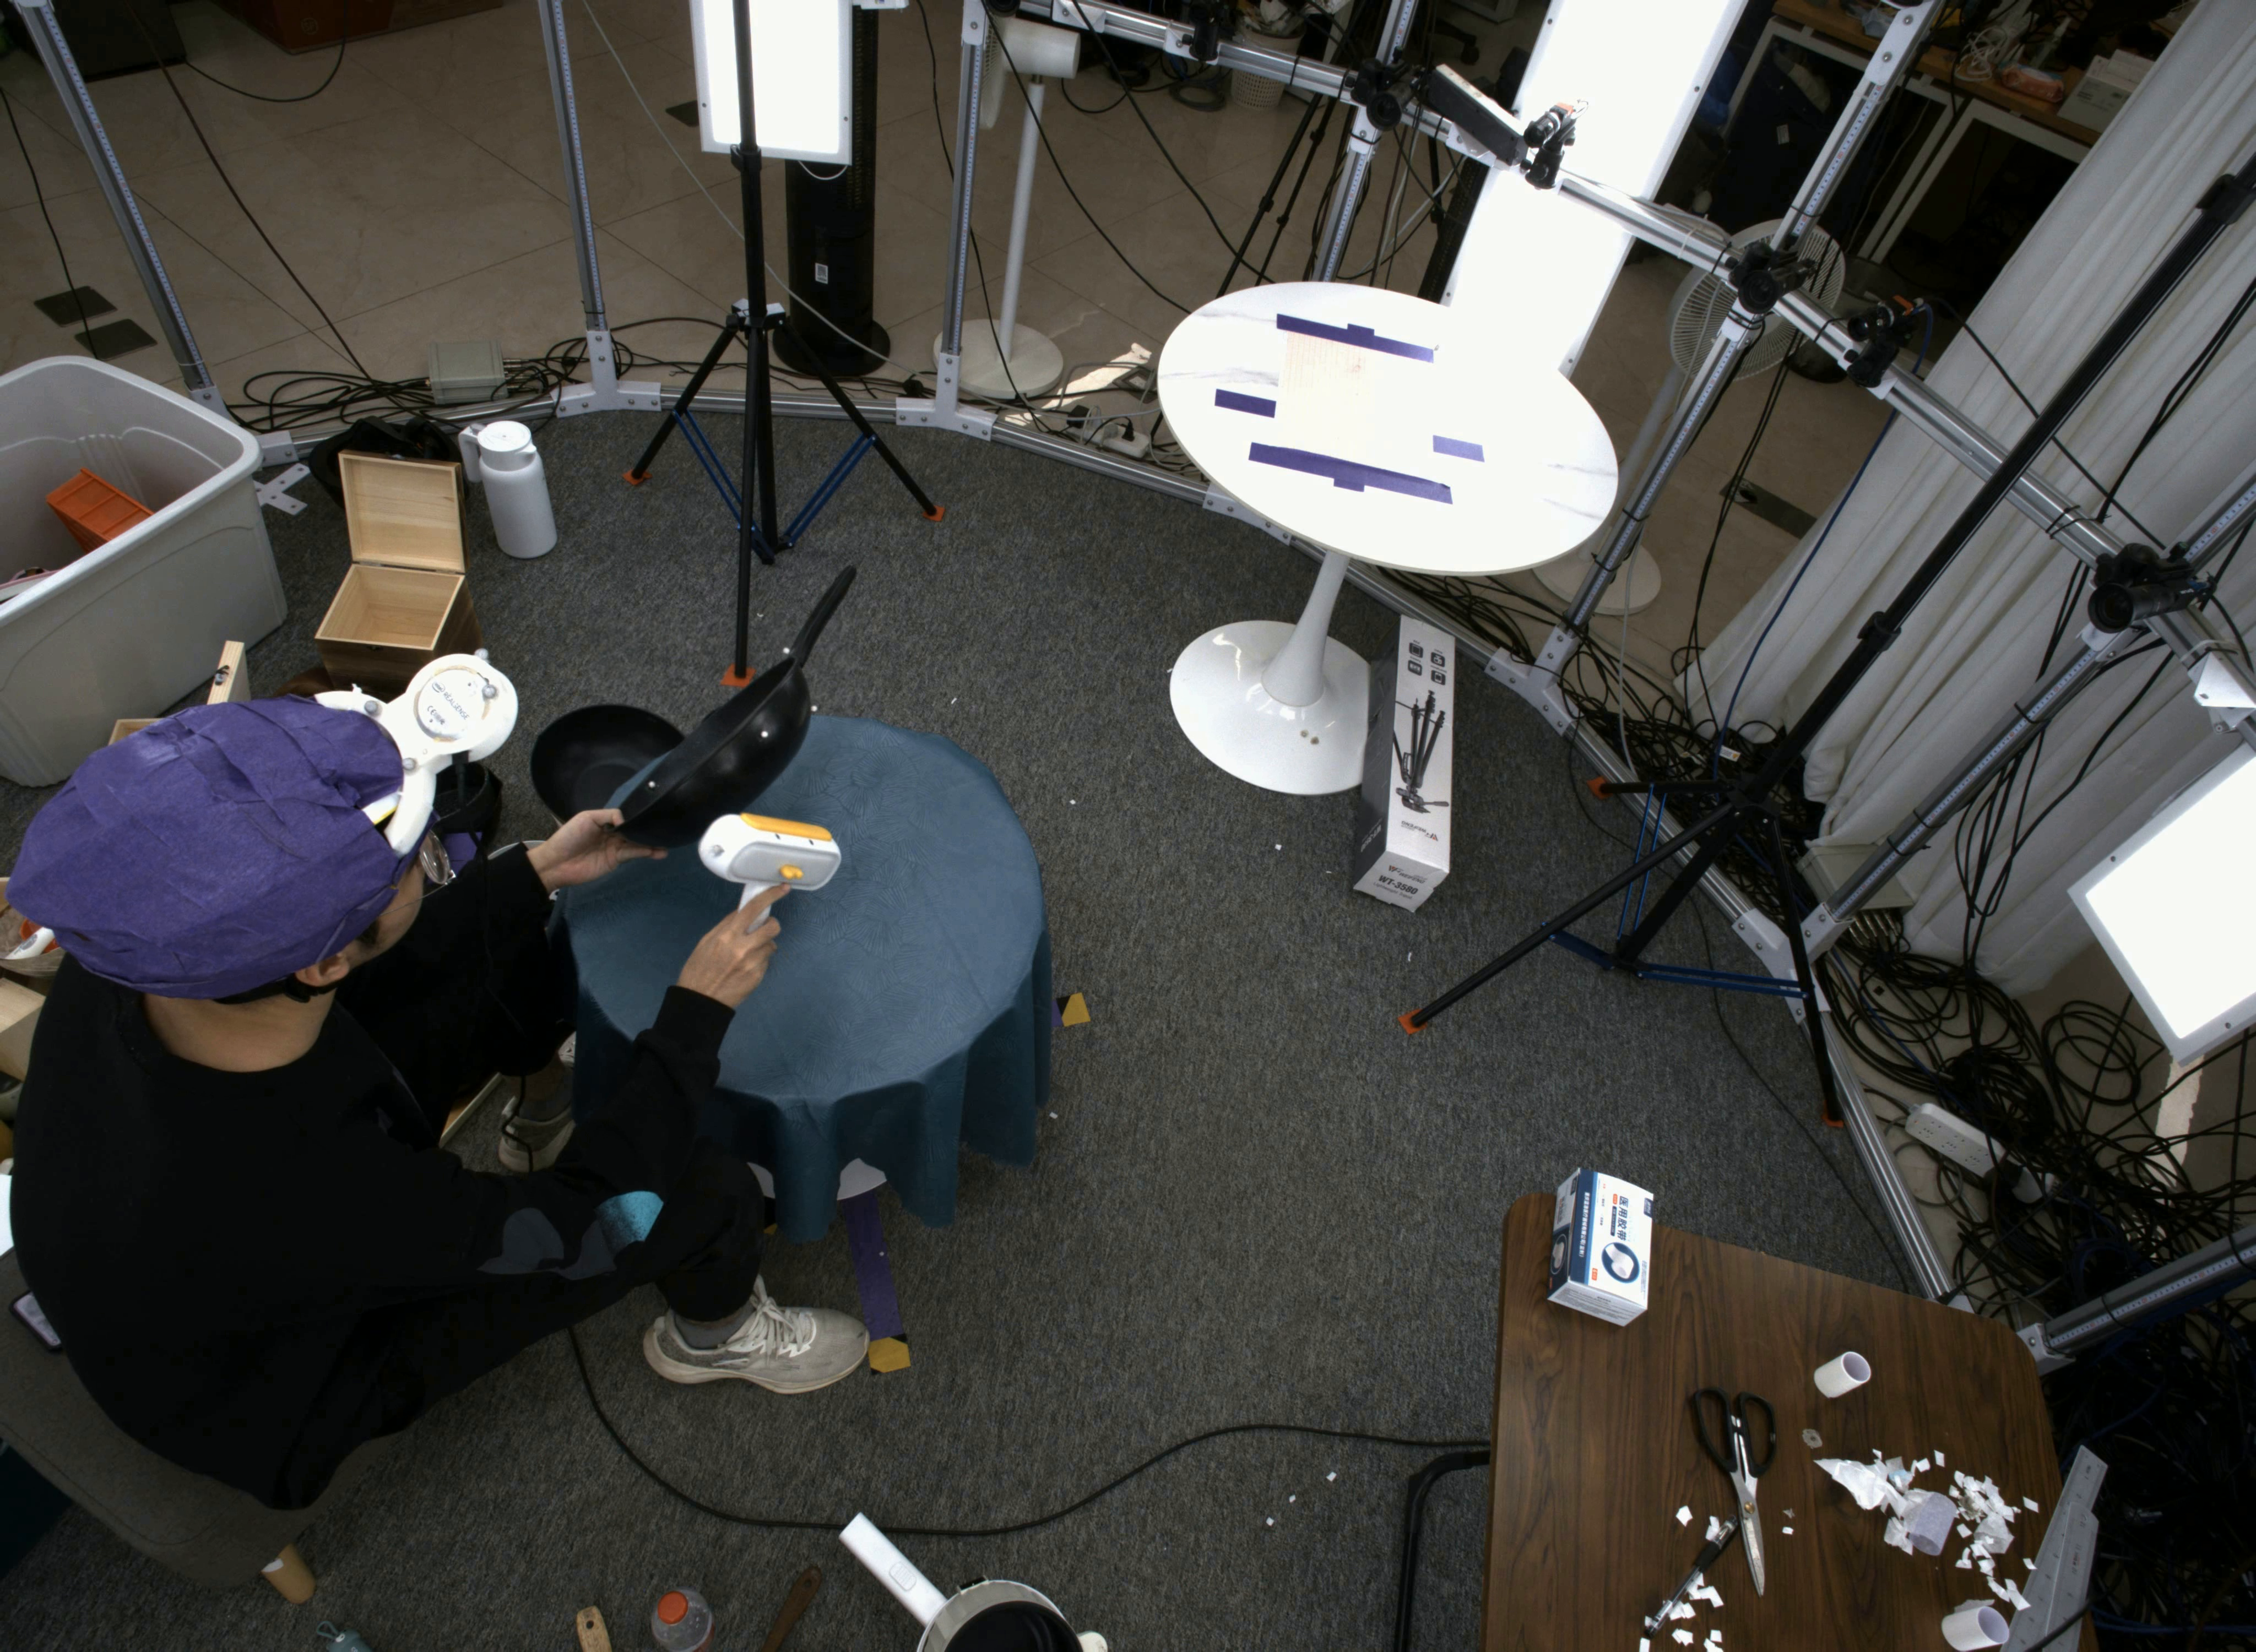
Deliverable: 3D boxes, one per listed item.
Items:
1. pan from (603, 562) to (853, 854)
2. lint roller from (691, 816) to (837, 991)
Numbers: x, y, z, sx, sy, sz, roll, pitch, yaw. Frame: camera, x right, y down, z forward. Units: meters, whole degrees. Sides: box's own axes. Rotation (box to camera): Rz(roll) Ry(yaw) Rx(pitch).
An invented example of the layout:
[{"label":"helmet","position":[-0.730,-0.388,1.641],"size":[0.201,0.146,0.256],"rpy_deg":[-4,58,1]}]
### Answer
[{"label":"pan","position":[-0.456,-0.136,1.591],"size":[0.115,0.302,0.475],"rpy_deg":[49,57,-22]},{"label":"lint roller","position":[-0.413,0.083,1.426],"size":[0.072,0.194,0.196],"rpy_deg":[29,10,19]}]
